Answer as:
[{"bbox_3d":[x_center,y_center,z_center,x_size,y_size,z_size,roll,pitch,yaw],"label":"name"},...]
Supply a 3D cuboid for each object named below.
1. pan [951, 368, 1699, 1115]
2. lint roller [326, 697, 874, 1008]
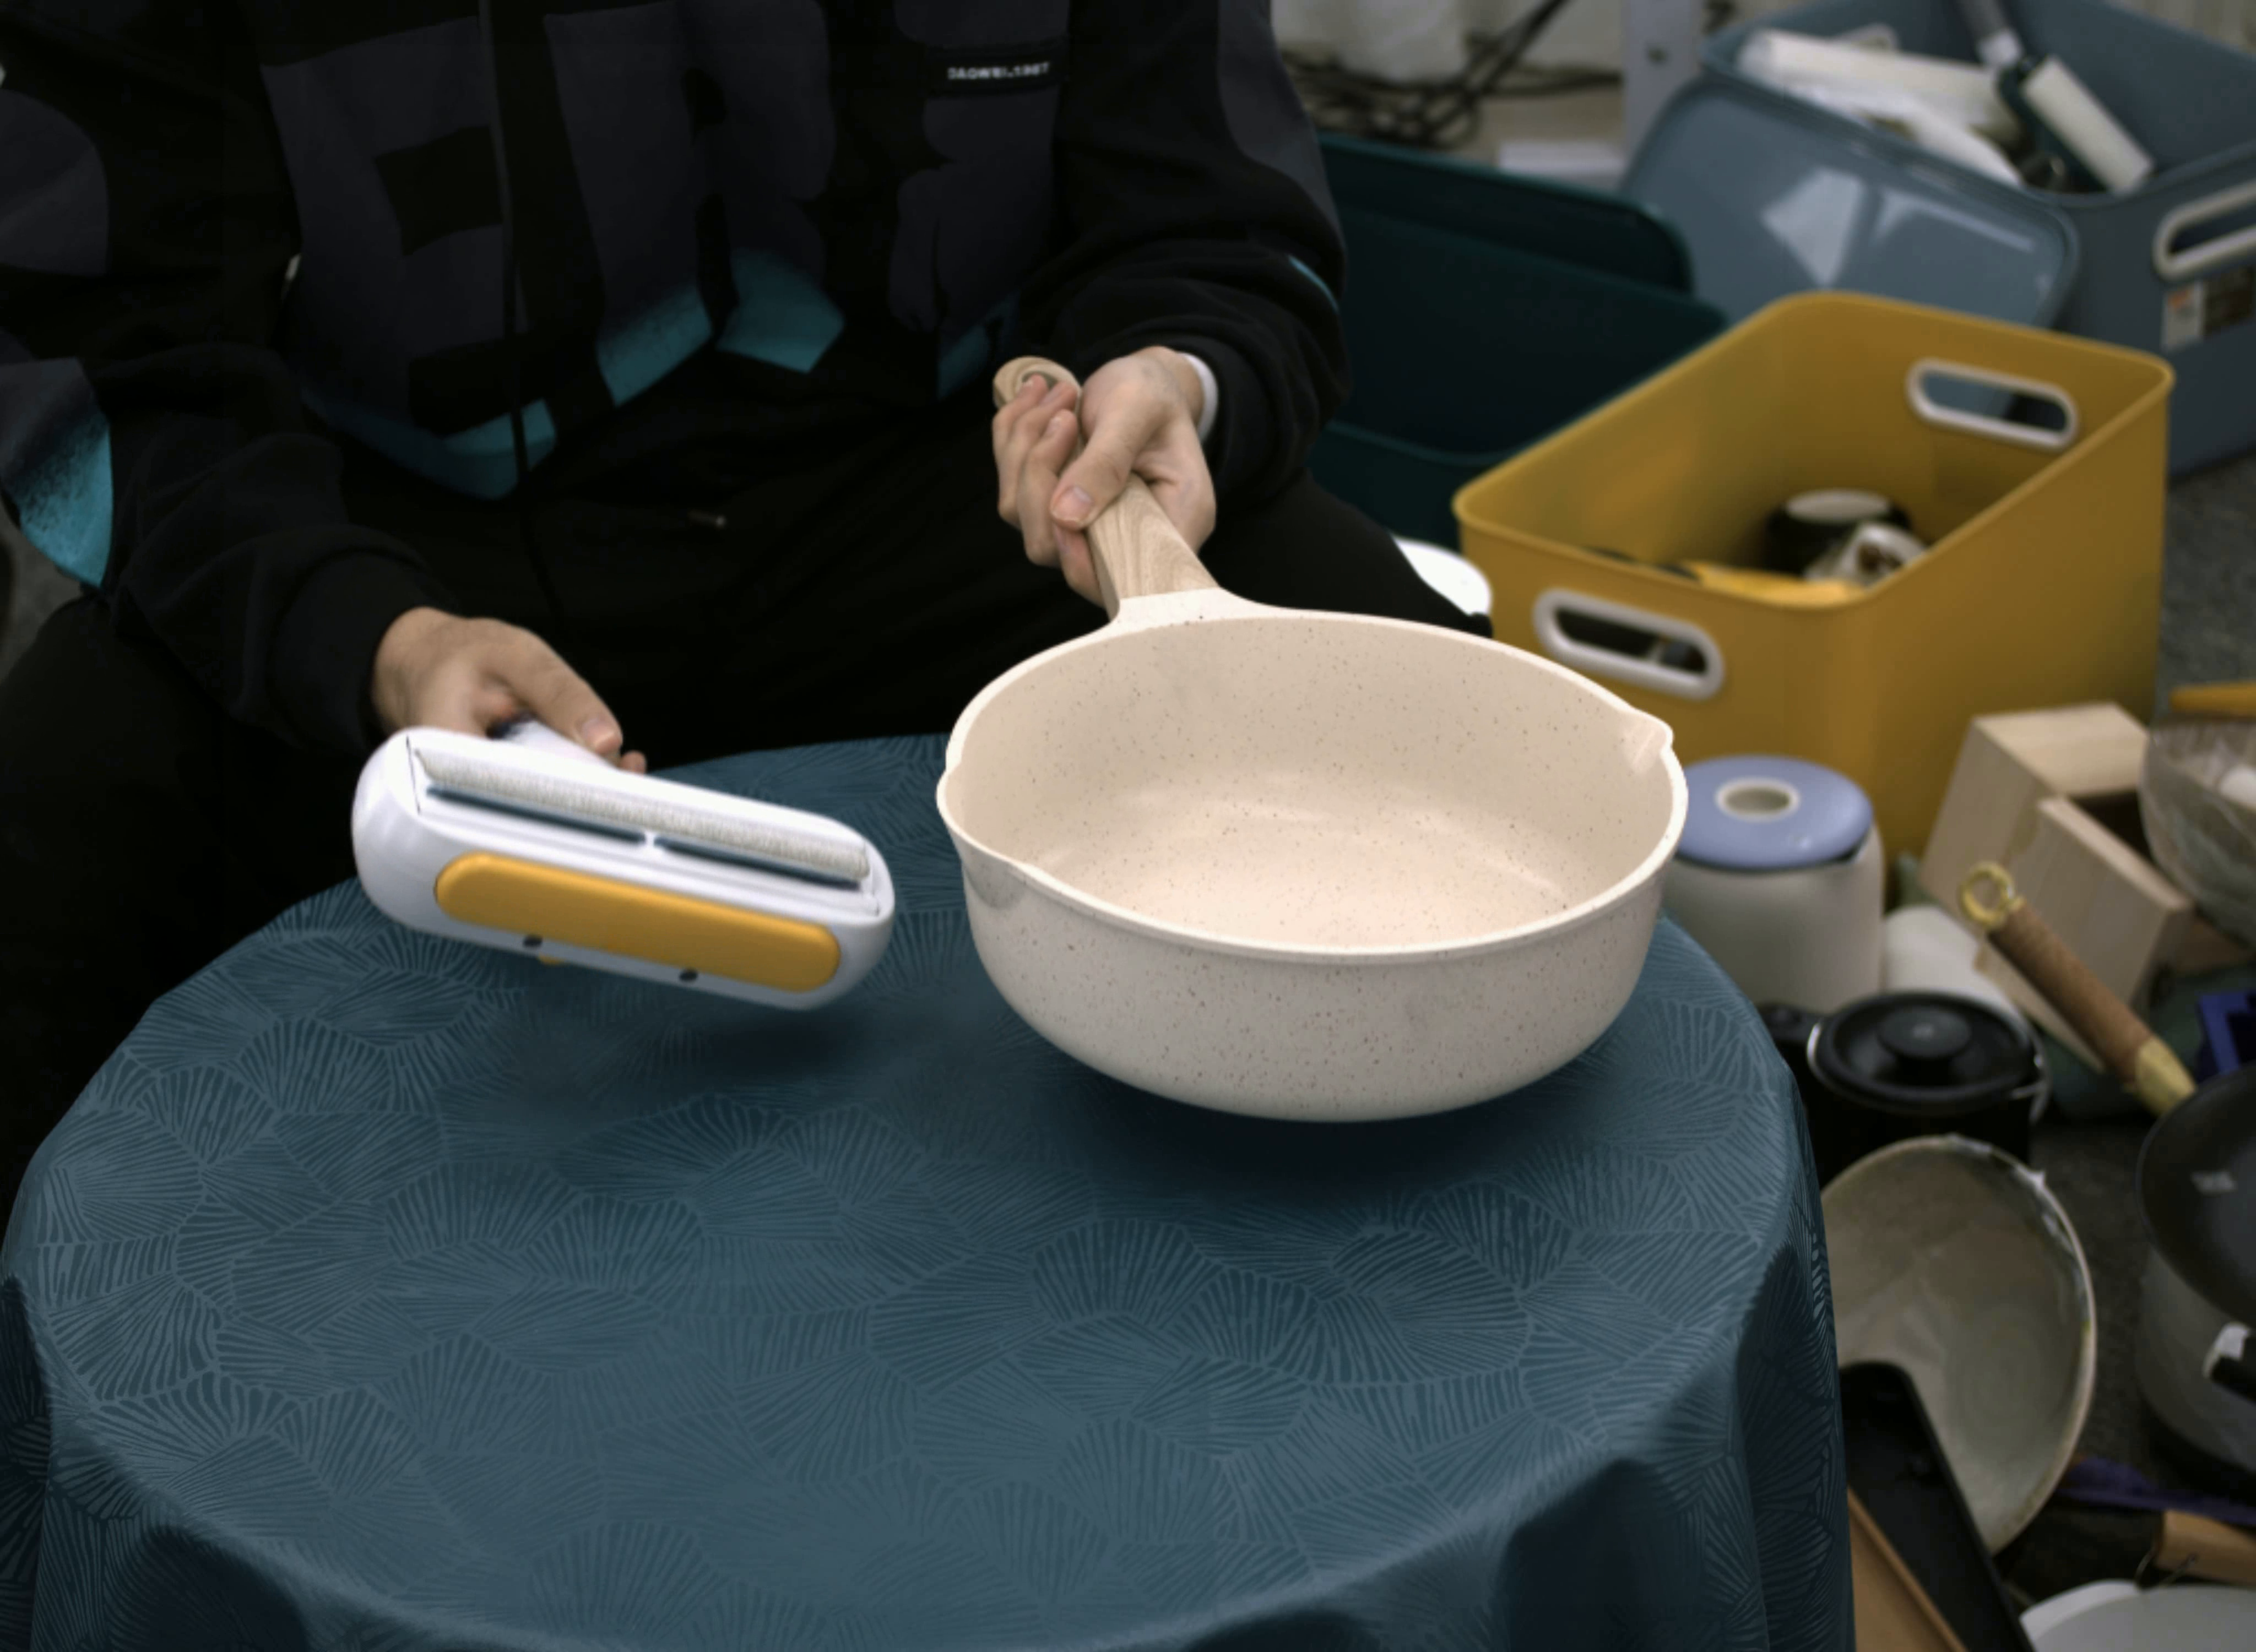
[{"bbox_3d":[0.034,-0.033,1.984,0.264,0.101,0.439,-9,29,-19],"label":"pan"},{"bbox_3d":[-0.193,-0.009,1.964,0.192,0.073,0.195,11,25,-19],"label":"lint roller"}]
